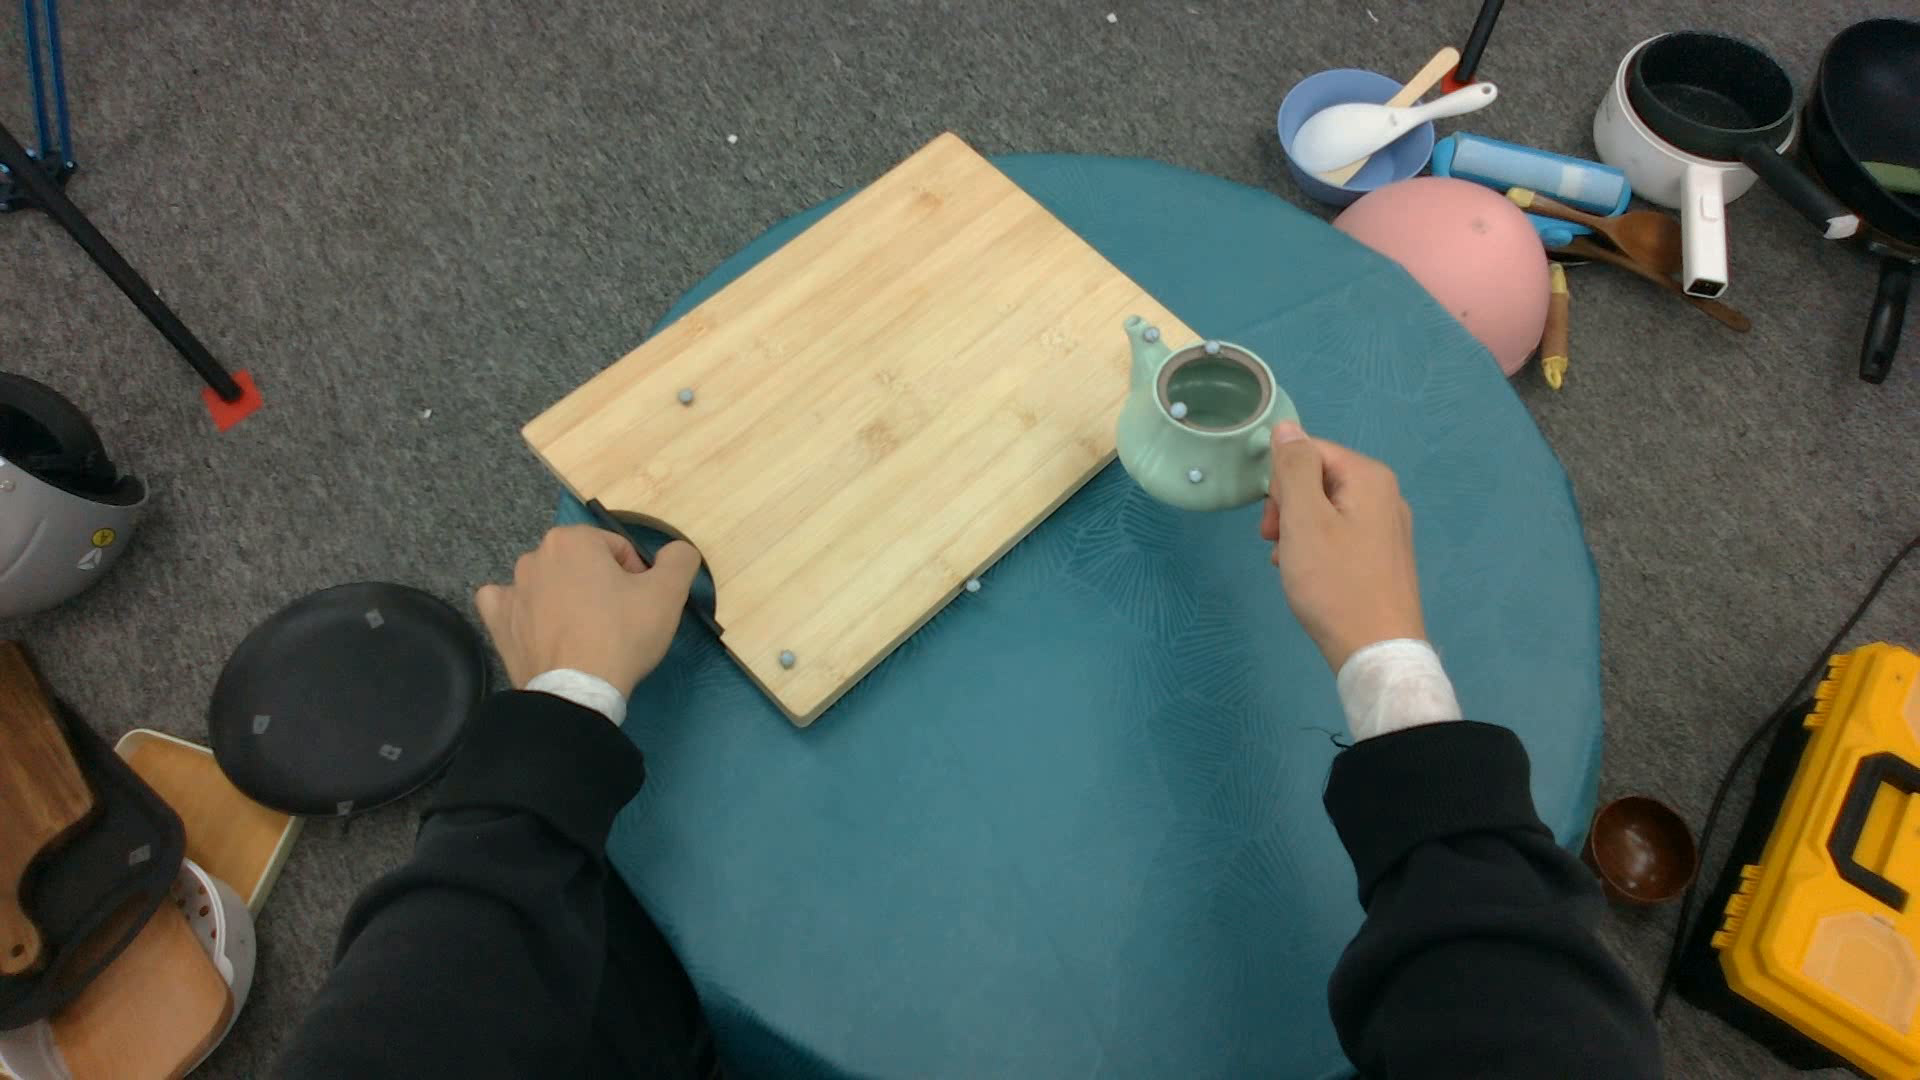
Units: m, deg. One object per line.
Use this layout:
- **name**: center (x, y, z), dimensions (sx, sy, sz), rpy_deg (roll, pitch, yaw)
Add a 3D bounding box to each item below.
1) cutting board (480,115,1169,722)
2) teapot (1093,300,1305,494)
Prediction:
- **cutting board**: center (-0.063, -0.090, 0.812), dimensions (0.251, 0.023, 0.350), rpy_deg (42, 68, 16)
- **teapot**: center (0.120, -0.070, 0.711), dimensions (0.096, 0.061, 0.137), rpy_deg (-38, 61, -21)
